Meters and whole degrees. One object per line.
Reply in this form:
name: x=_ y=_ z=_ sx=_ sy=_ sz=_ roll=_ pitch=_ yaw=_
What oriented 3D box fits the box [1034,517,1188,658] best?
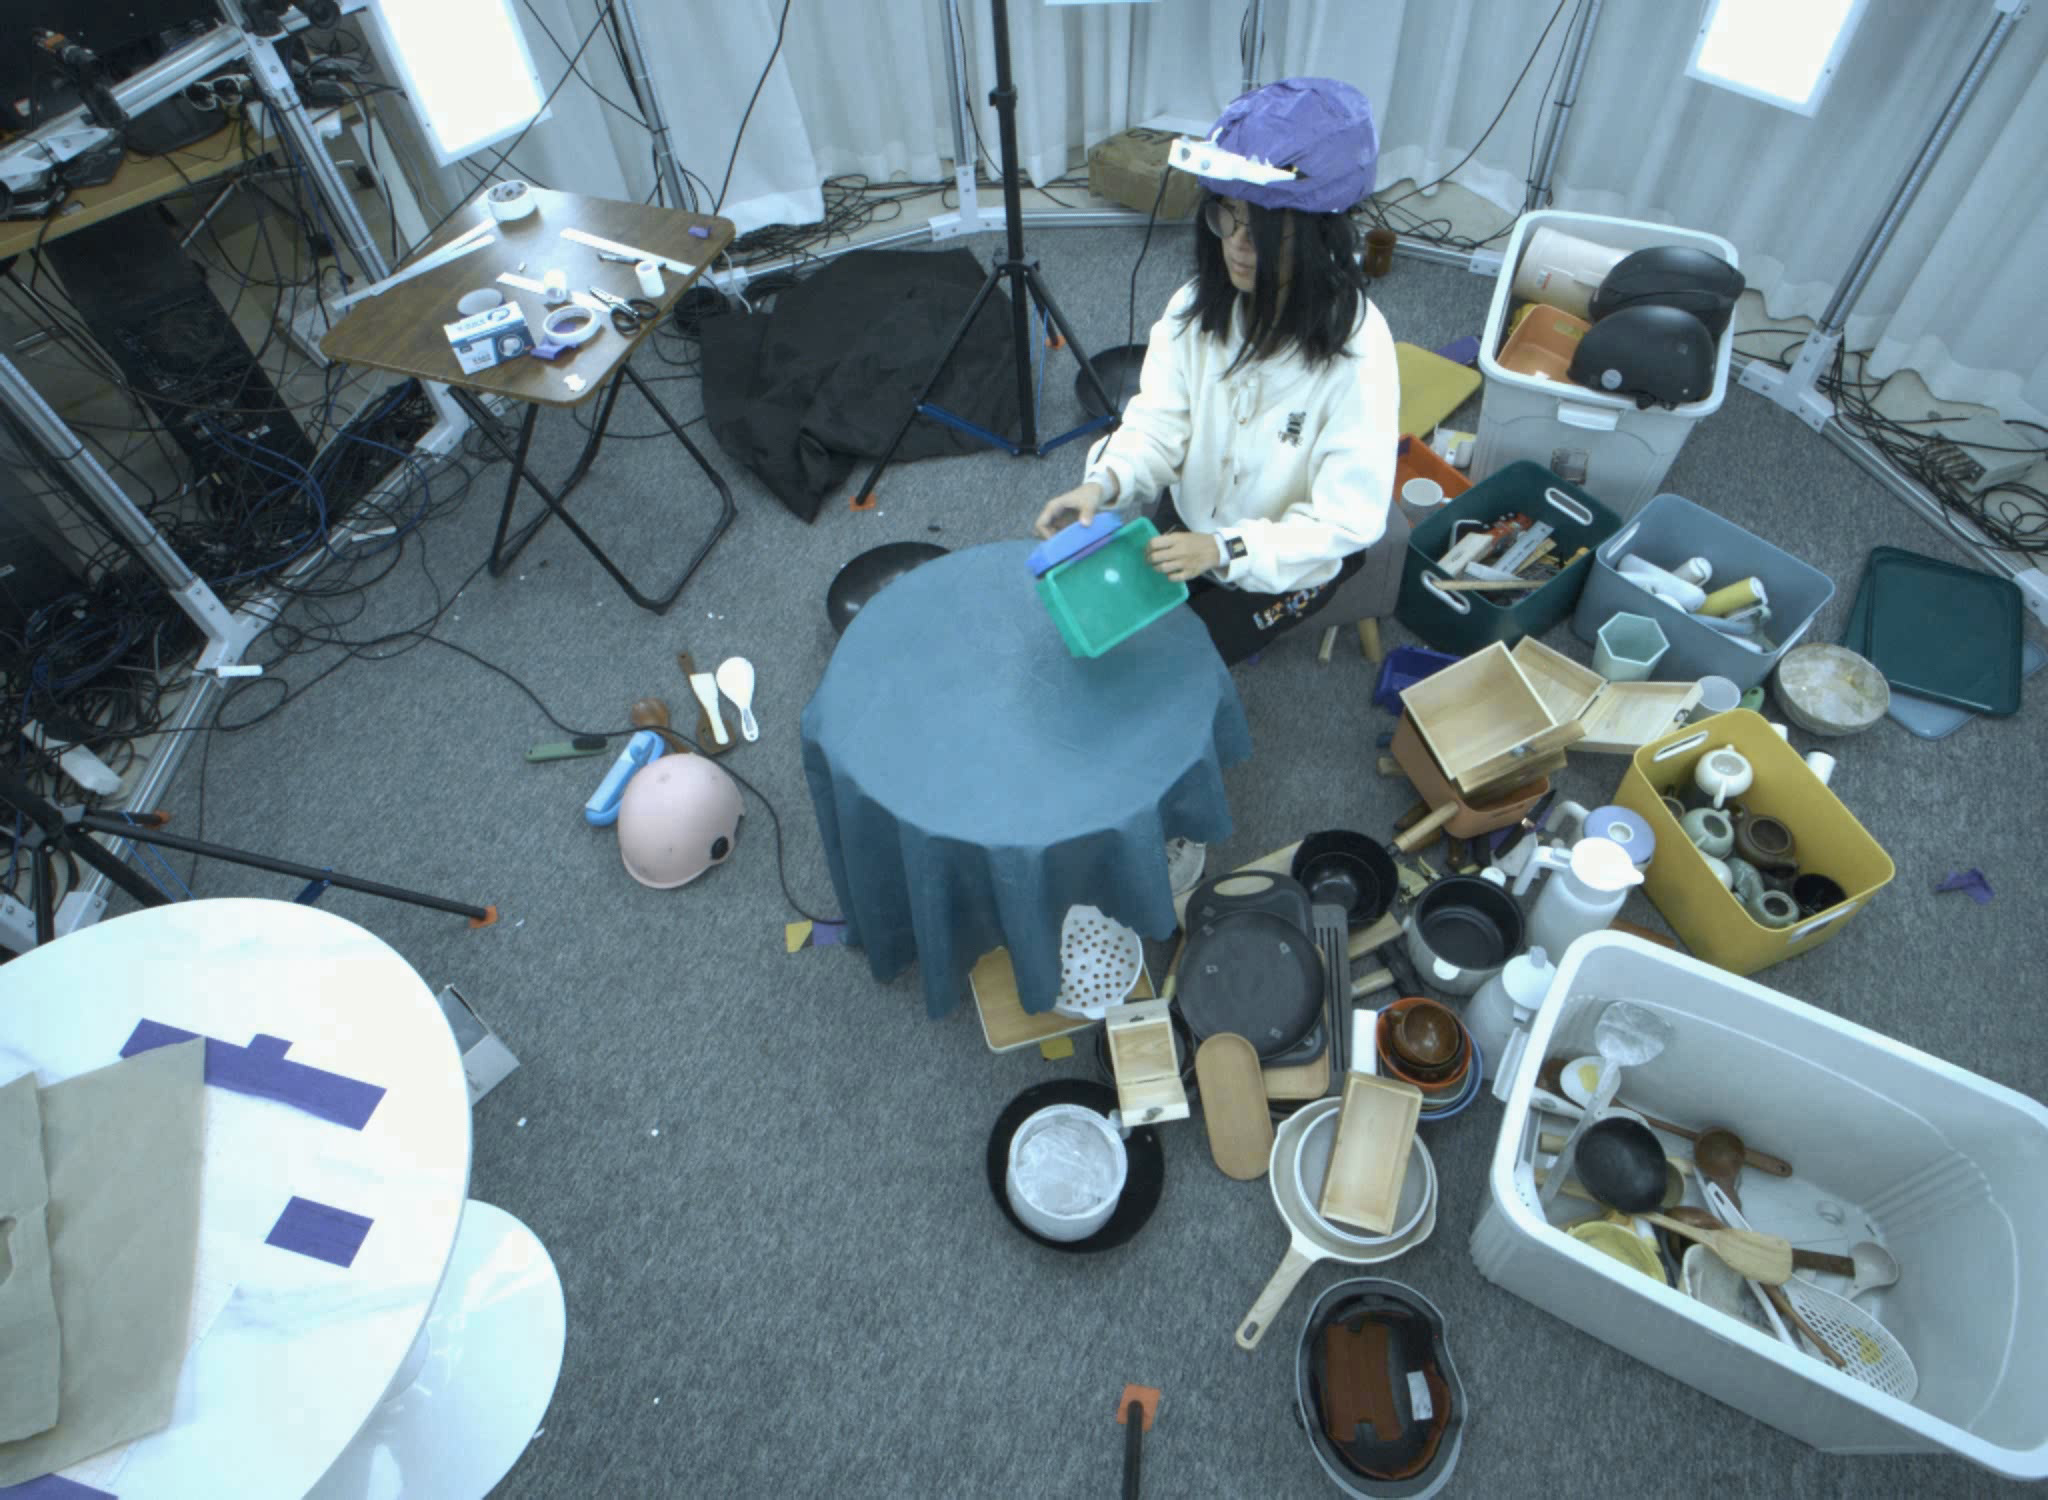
box: x=0.122 y=-0.232 z=1.782 sx=0.212 sy=0.064 sz=0.139 roll=-34 pitch=100 yaw=-23

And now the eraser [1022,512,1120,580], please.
eraser: x=0.065 y=-0.301 z=1.773 sx=0.164 sy=0.053 sz=0.048 roll=-34 pitch=97 yaw=-33
